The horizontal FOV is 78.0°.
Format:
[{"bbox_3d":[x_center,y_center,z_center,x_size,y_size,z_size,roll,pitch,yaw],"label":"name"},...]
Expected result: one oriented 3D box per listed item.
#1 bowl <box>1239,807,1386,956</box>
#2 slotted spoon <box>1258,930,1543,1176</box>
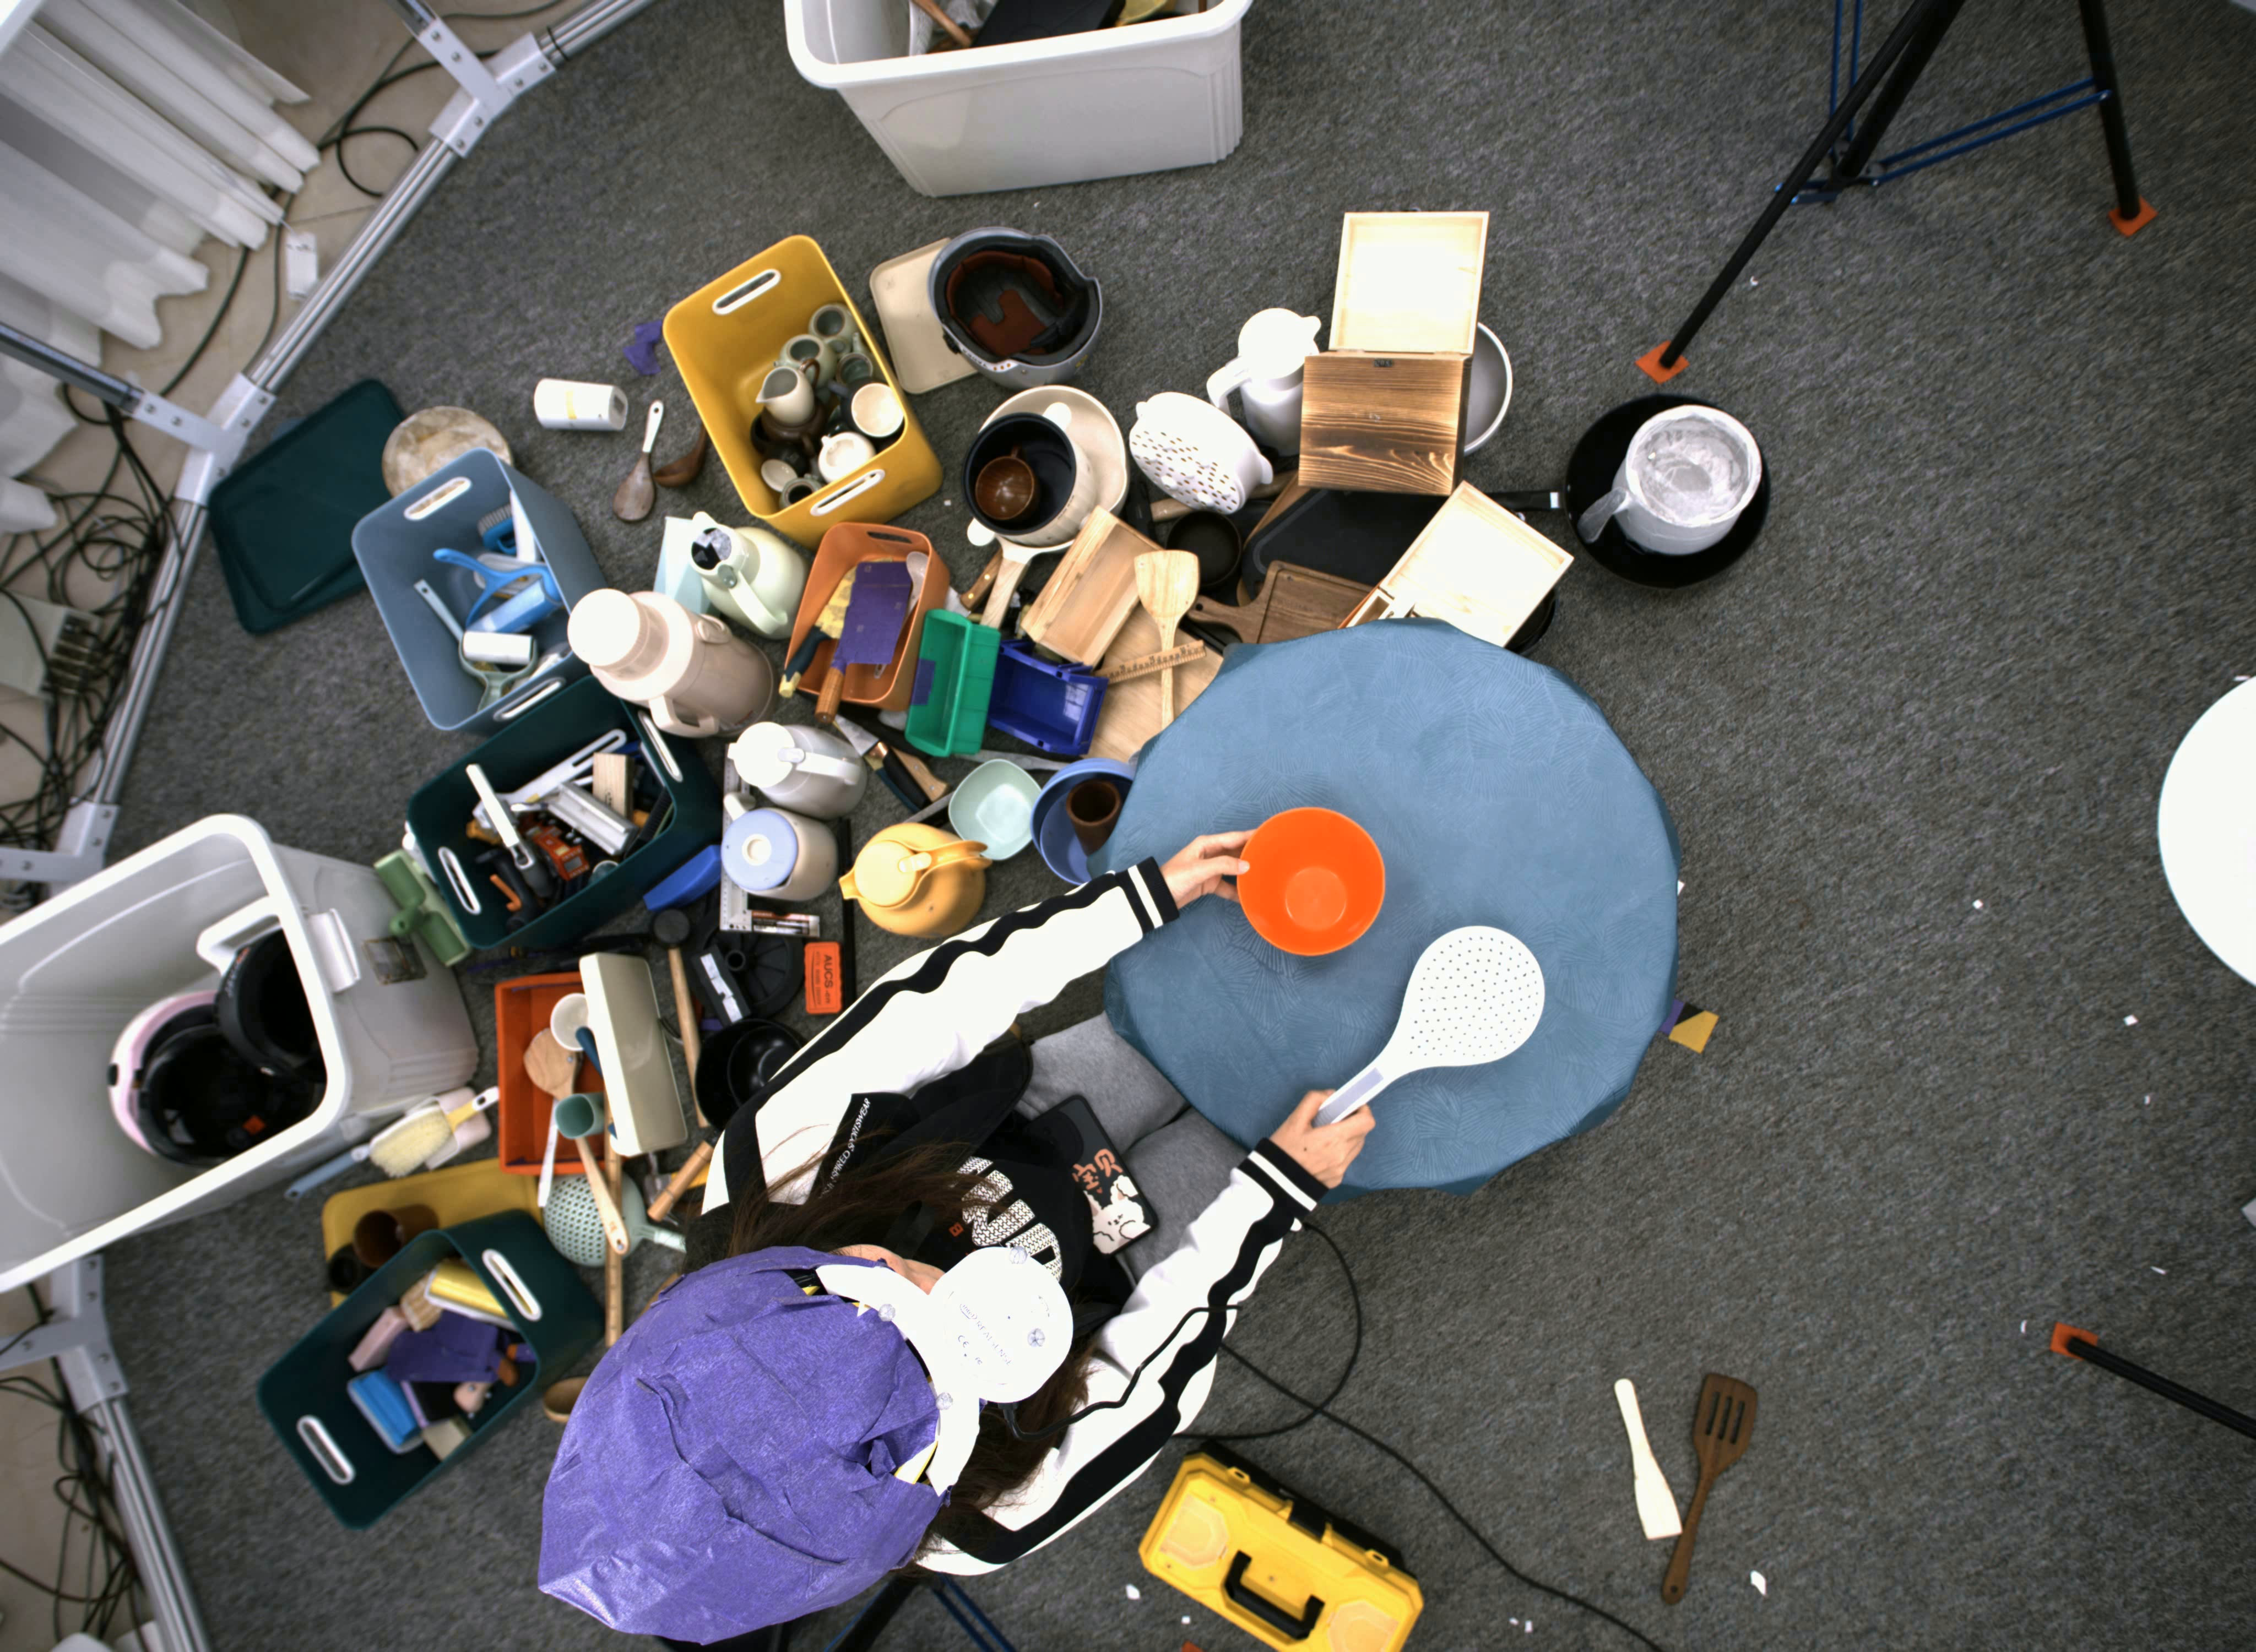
[{"bbox_3d":[0.190,0.060,1.424,0.148,0.105,0.147,-1,85,9],"label":"bowl"},{"bbox_3d":[0.269,0.241,1.403,0.353,0.046,0.134,-40,57,11],"label":"slotted spoon"}]
